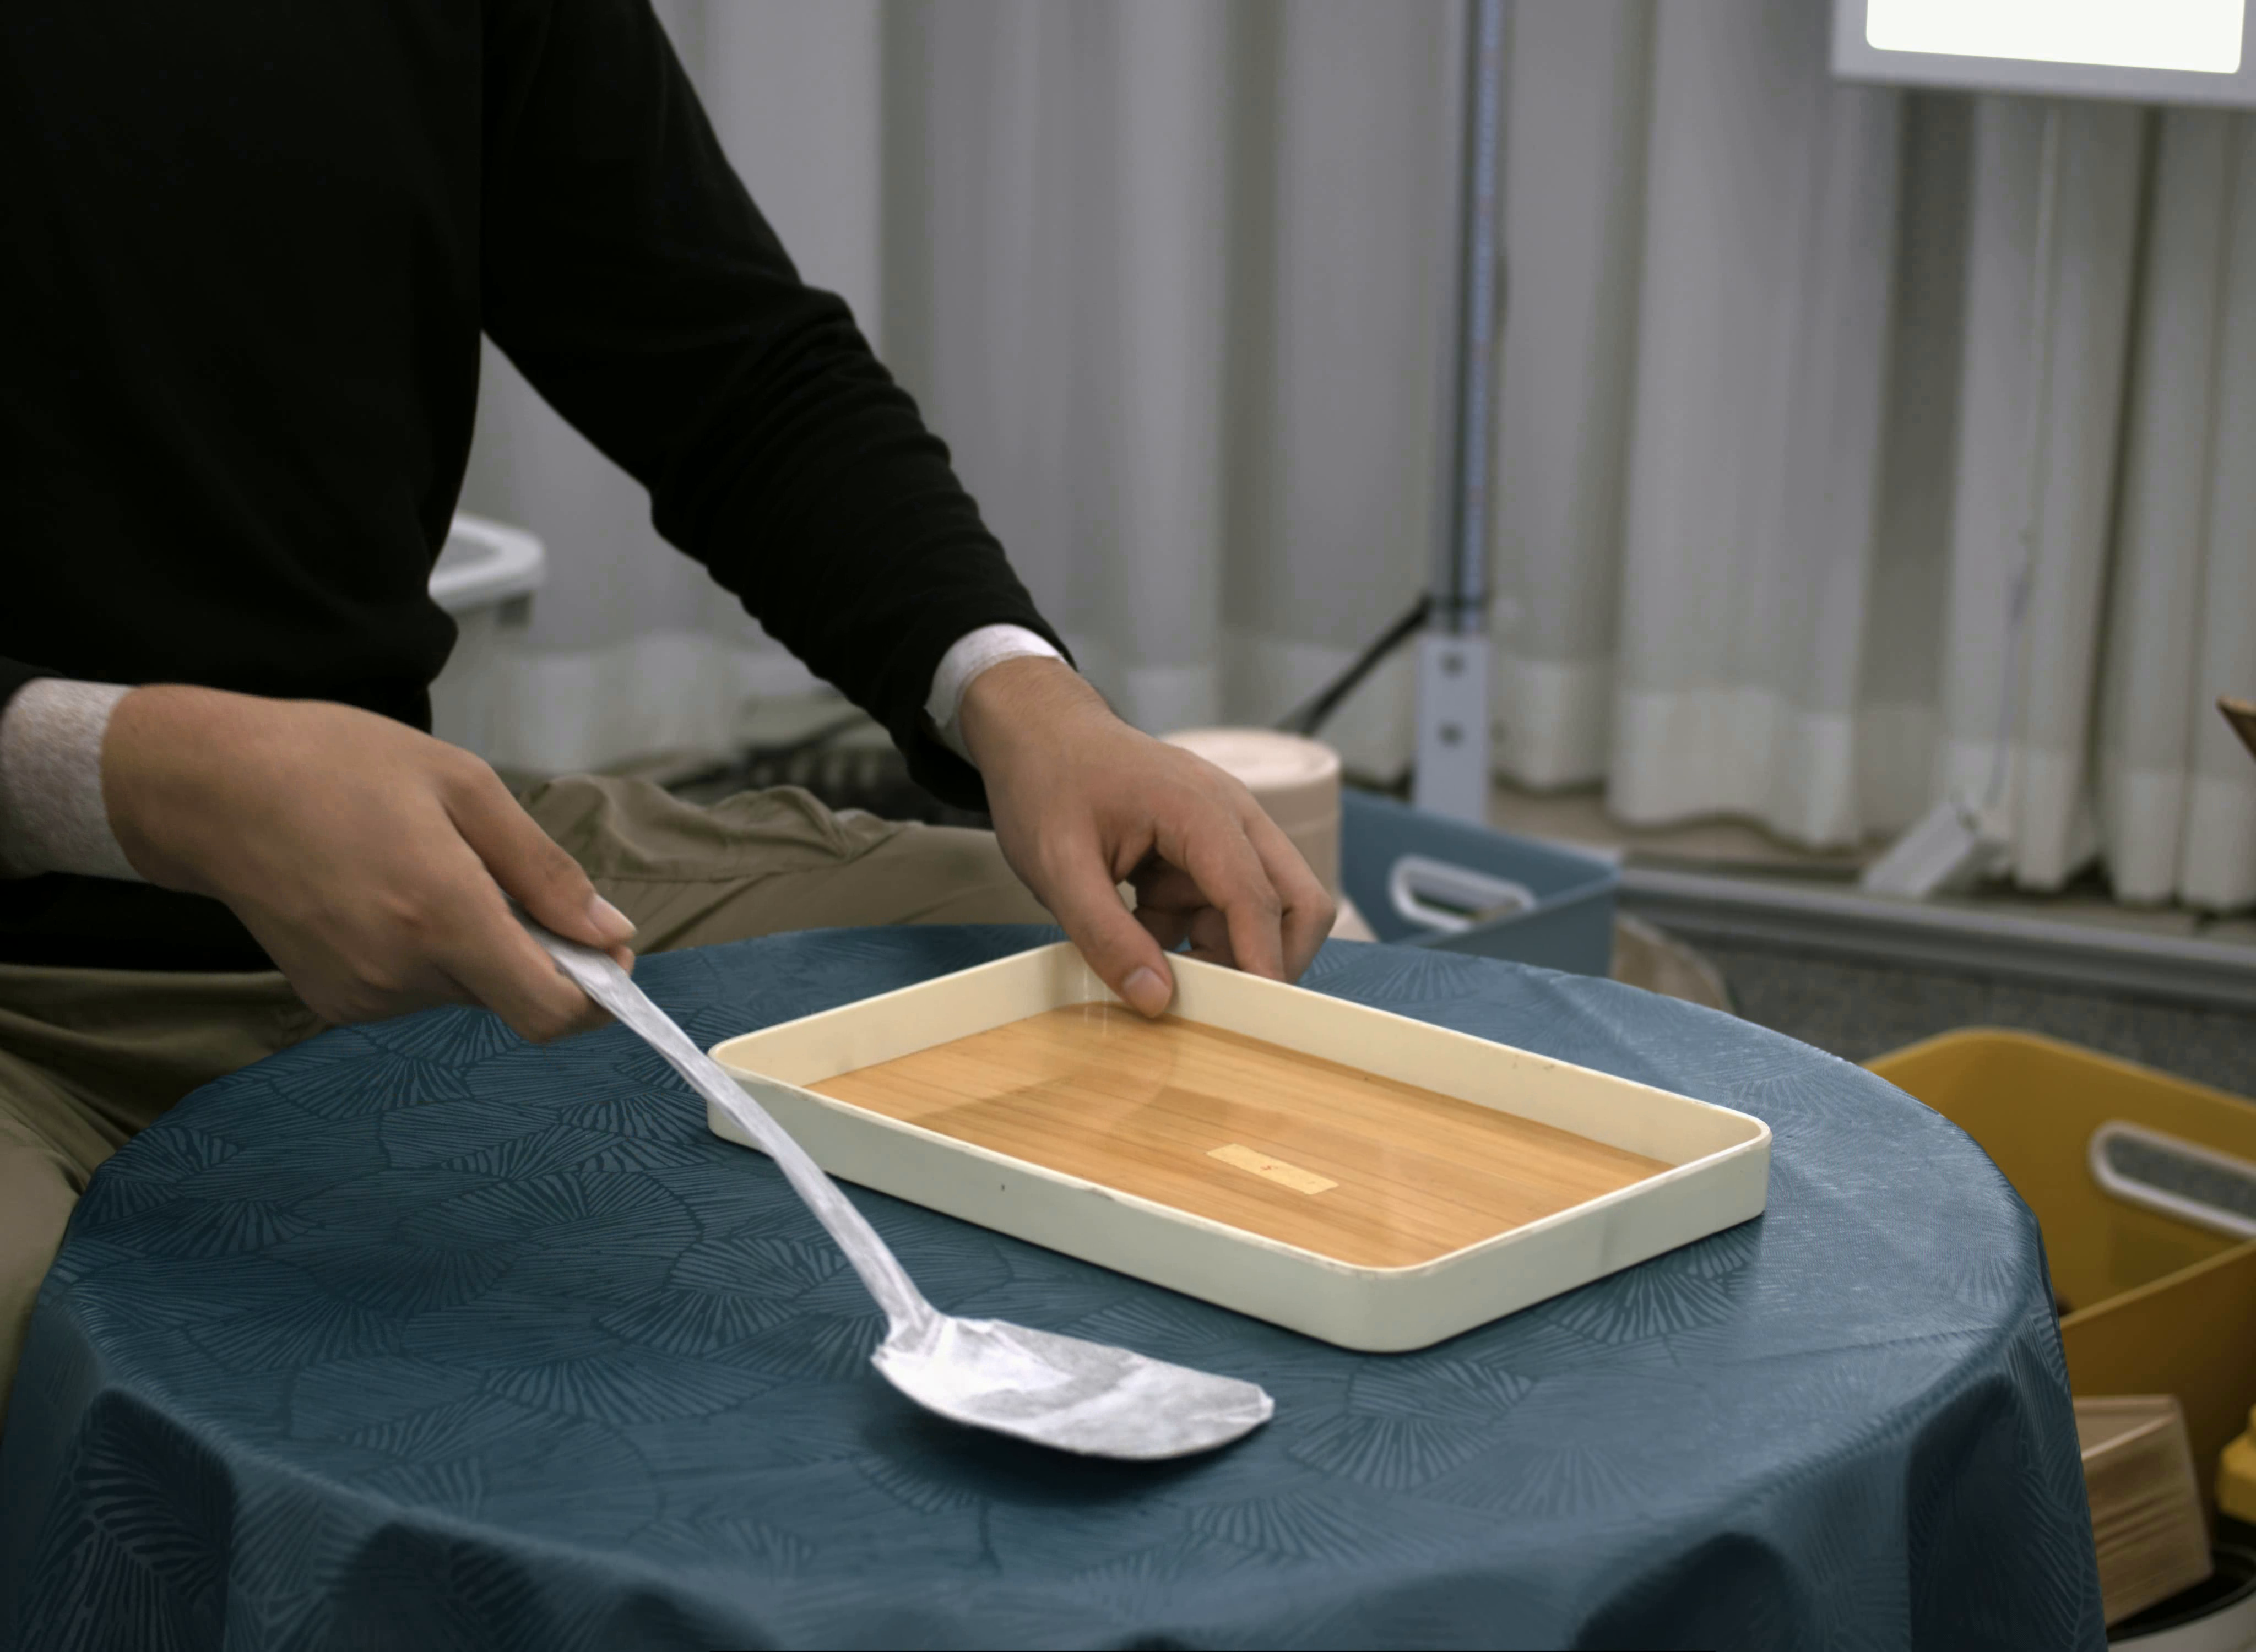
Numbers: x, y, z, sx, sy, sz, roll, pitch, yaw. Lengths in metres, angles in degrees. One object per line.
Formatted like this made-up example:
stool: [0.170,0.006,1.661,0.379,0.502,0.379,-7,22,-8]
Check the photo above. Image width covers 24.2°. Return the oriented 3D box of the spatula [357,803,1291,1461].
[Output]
spatula: [-0.105,0.079,1.490,0.360,0.045,0.099,40,27,27]

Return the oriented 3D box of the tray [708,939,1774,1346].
tray: [0.032,0.094,1.638,0.296,0.027,0.192,15,21,42]
